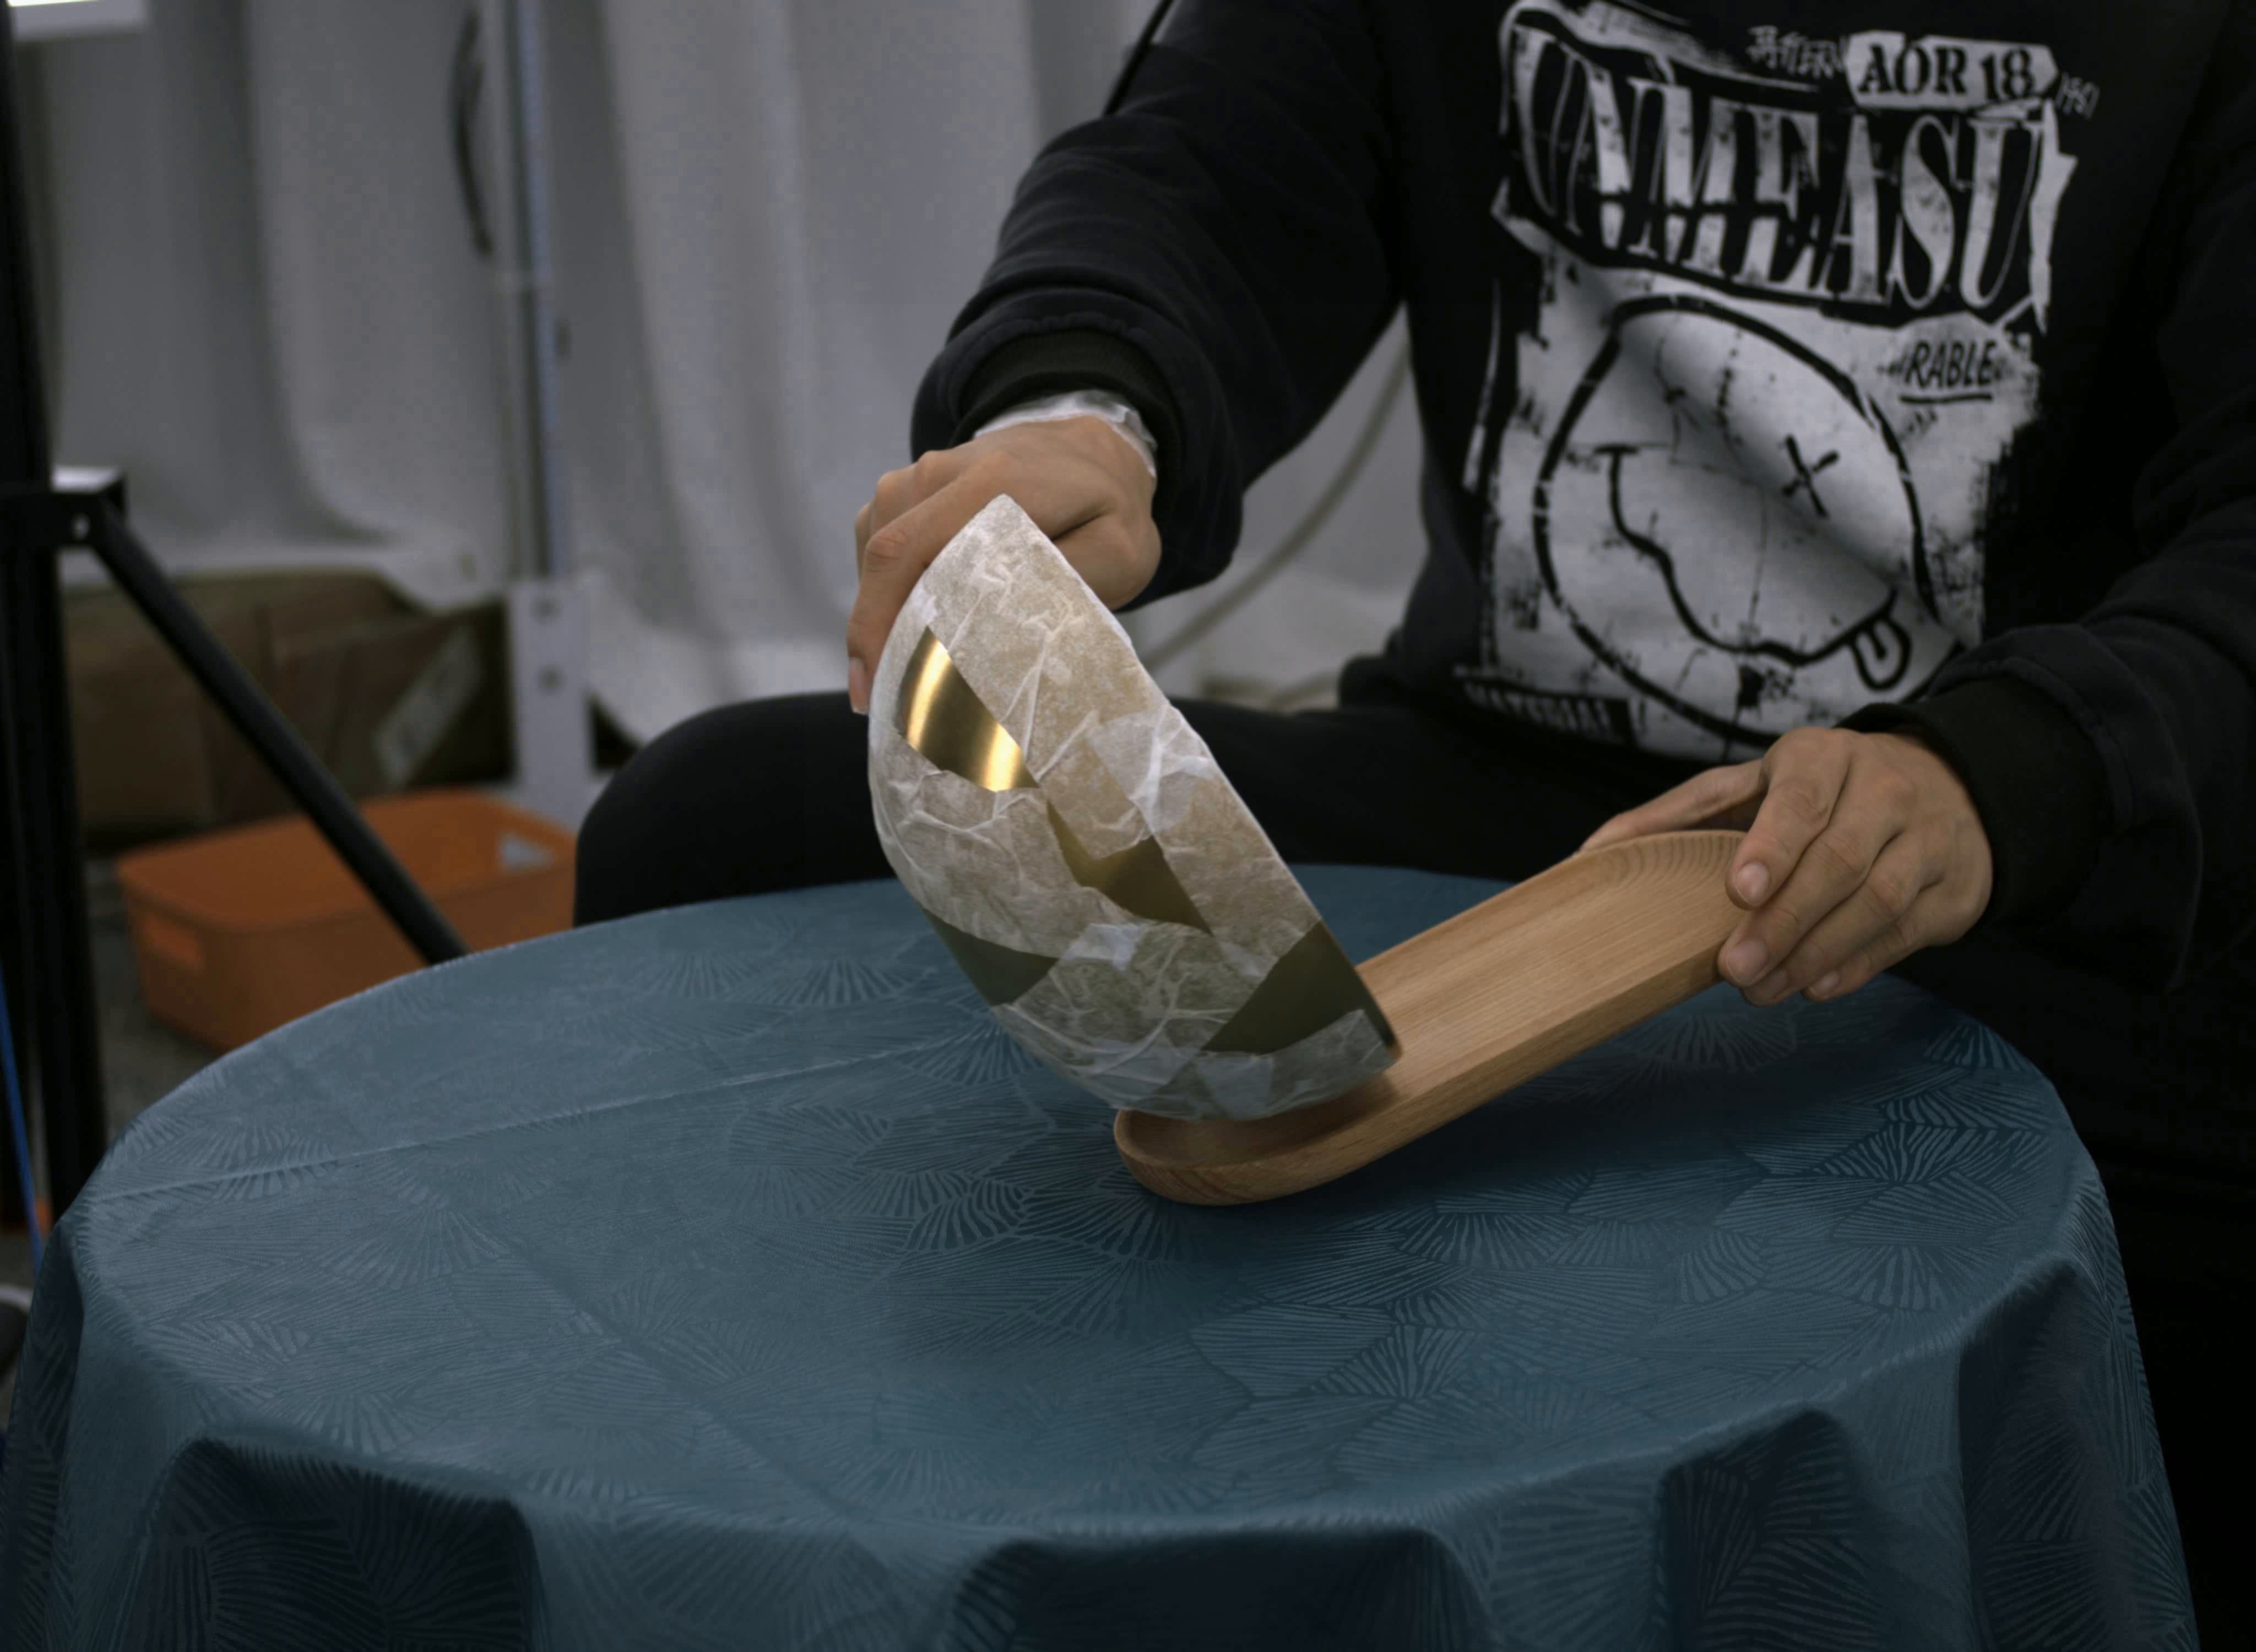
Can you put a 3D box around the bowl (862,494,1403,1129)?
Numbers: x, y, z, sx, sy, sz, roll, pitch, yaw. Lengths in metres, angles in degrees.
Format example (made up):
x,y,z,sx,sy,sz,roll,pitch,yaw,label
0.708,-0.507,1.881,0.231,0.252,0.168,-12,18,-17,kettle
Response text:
x,y,z,sx,sy,sz,roll,pitch,yaw,label
-0.013,0.015,1.541,0.094,0.212,0.217,-35,20,-2,bowl

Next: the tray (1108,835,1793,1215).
x,y,z,sx,sy,sz,roll,pitch,yaw,label
0.098,0.059,1.586,0.228,0.020,0.104,-28,20,-19,tray
